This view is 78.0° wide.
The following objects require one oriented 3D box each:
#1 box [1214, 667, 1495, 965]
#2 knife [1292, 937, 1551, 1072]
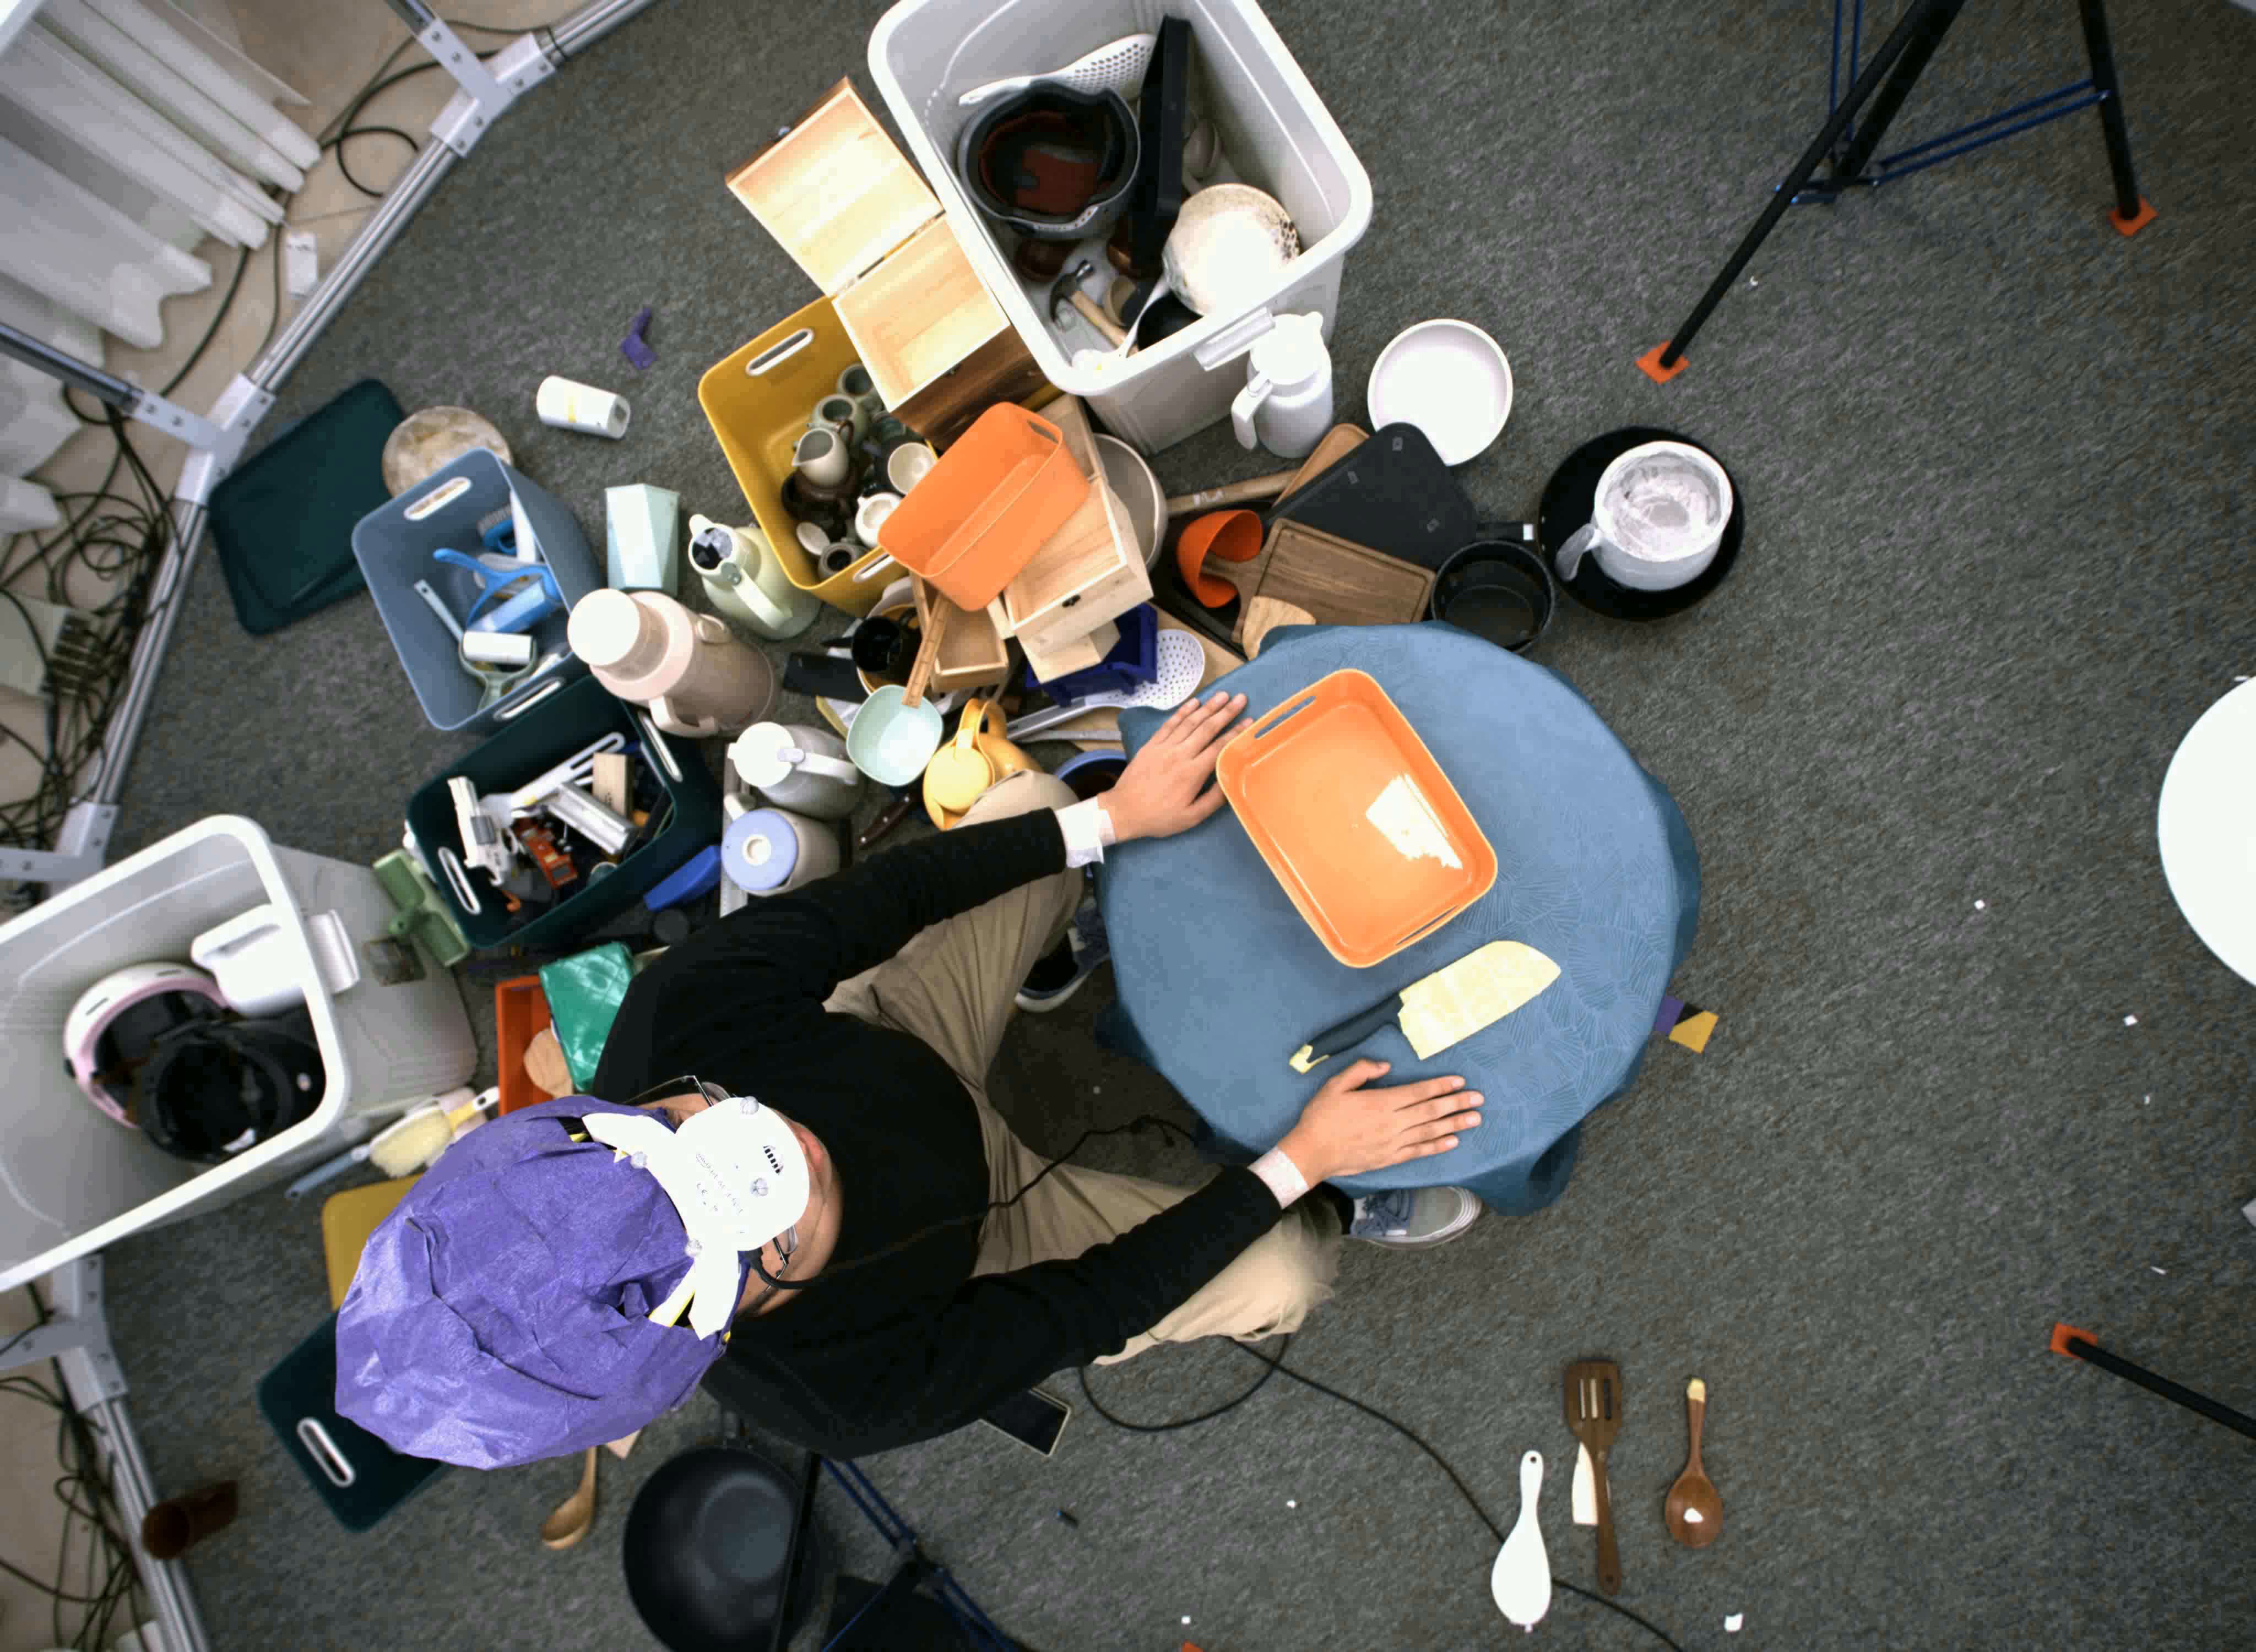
[{"bbox_3d":[0.230,-0.006,1.419,0.200,0.102,0.271,-34,81,6],"label":"box"},{"bbox_3d":[0.307,0.195,1.439,0.291,0.027,0.080,-26,80,7],"label":"knife"}]
